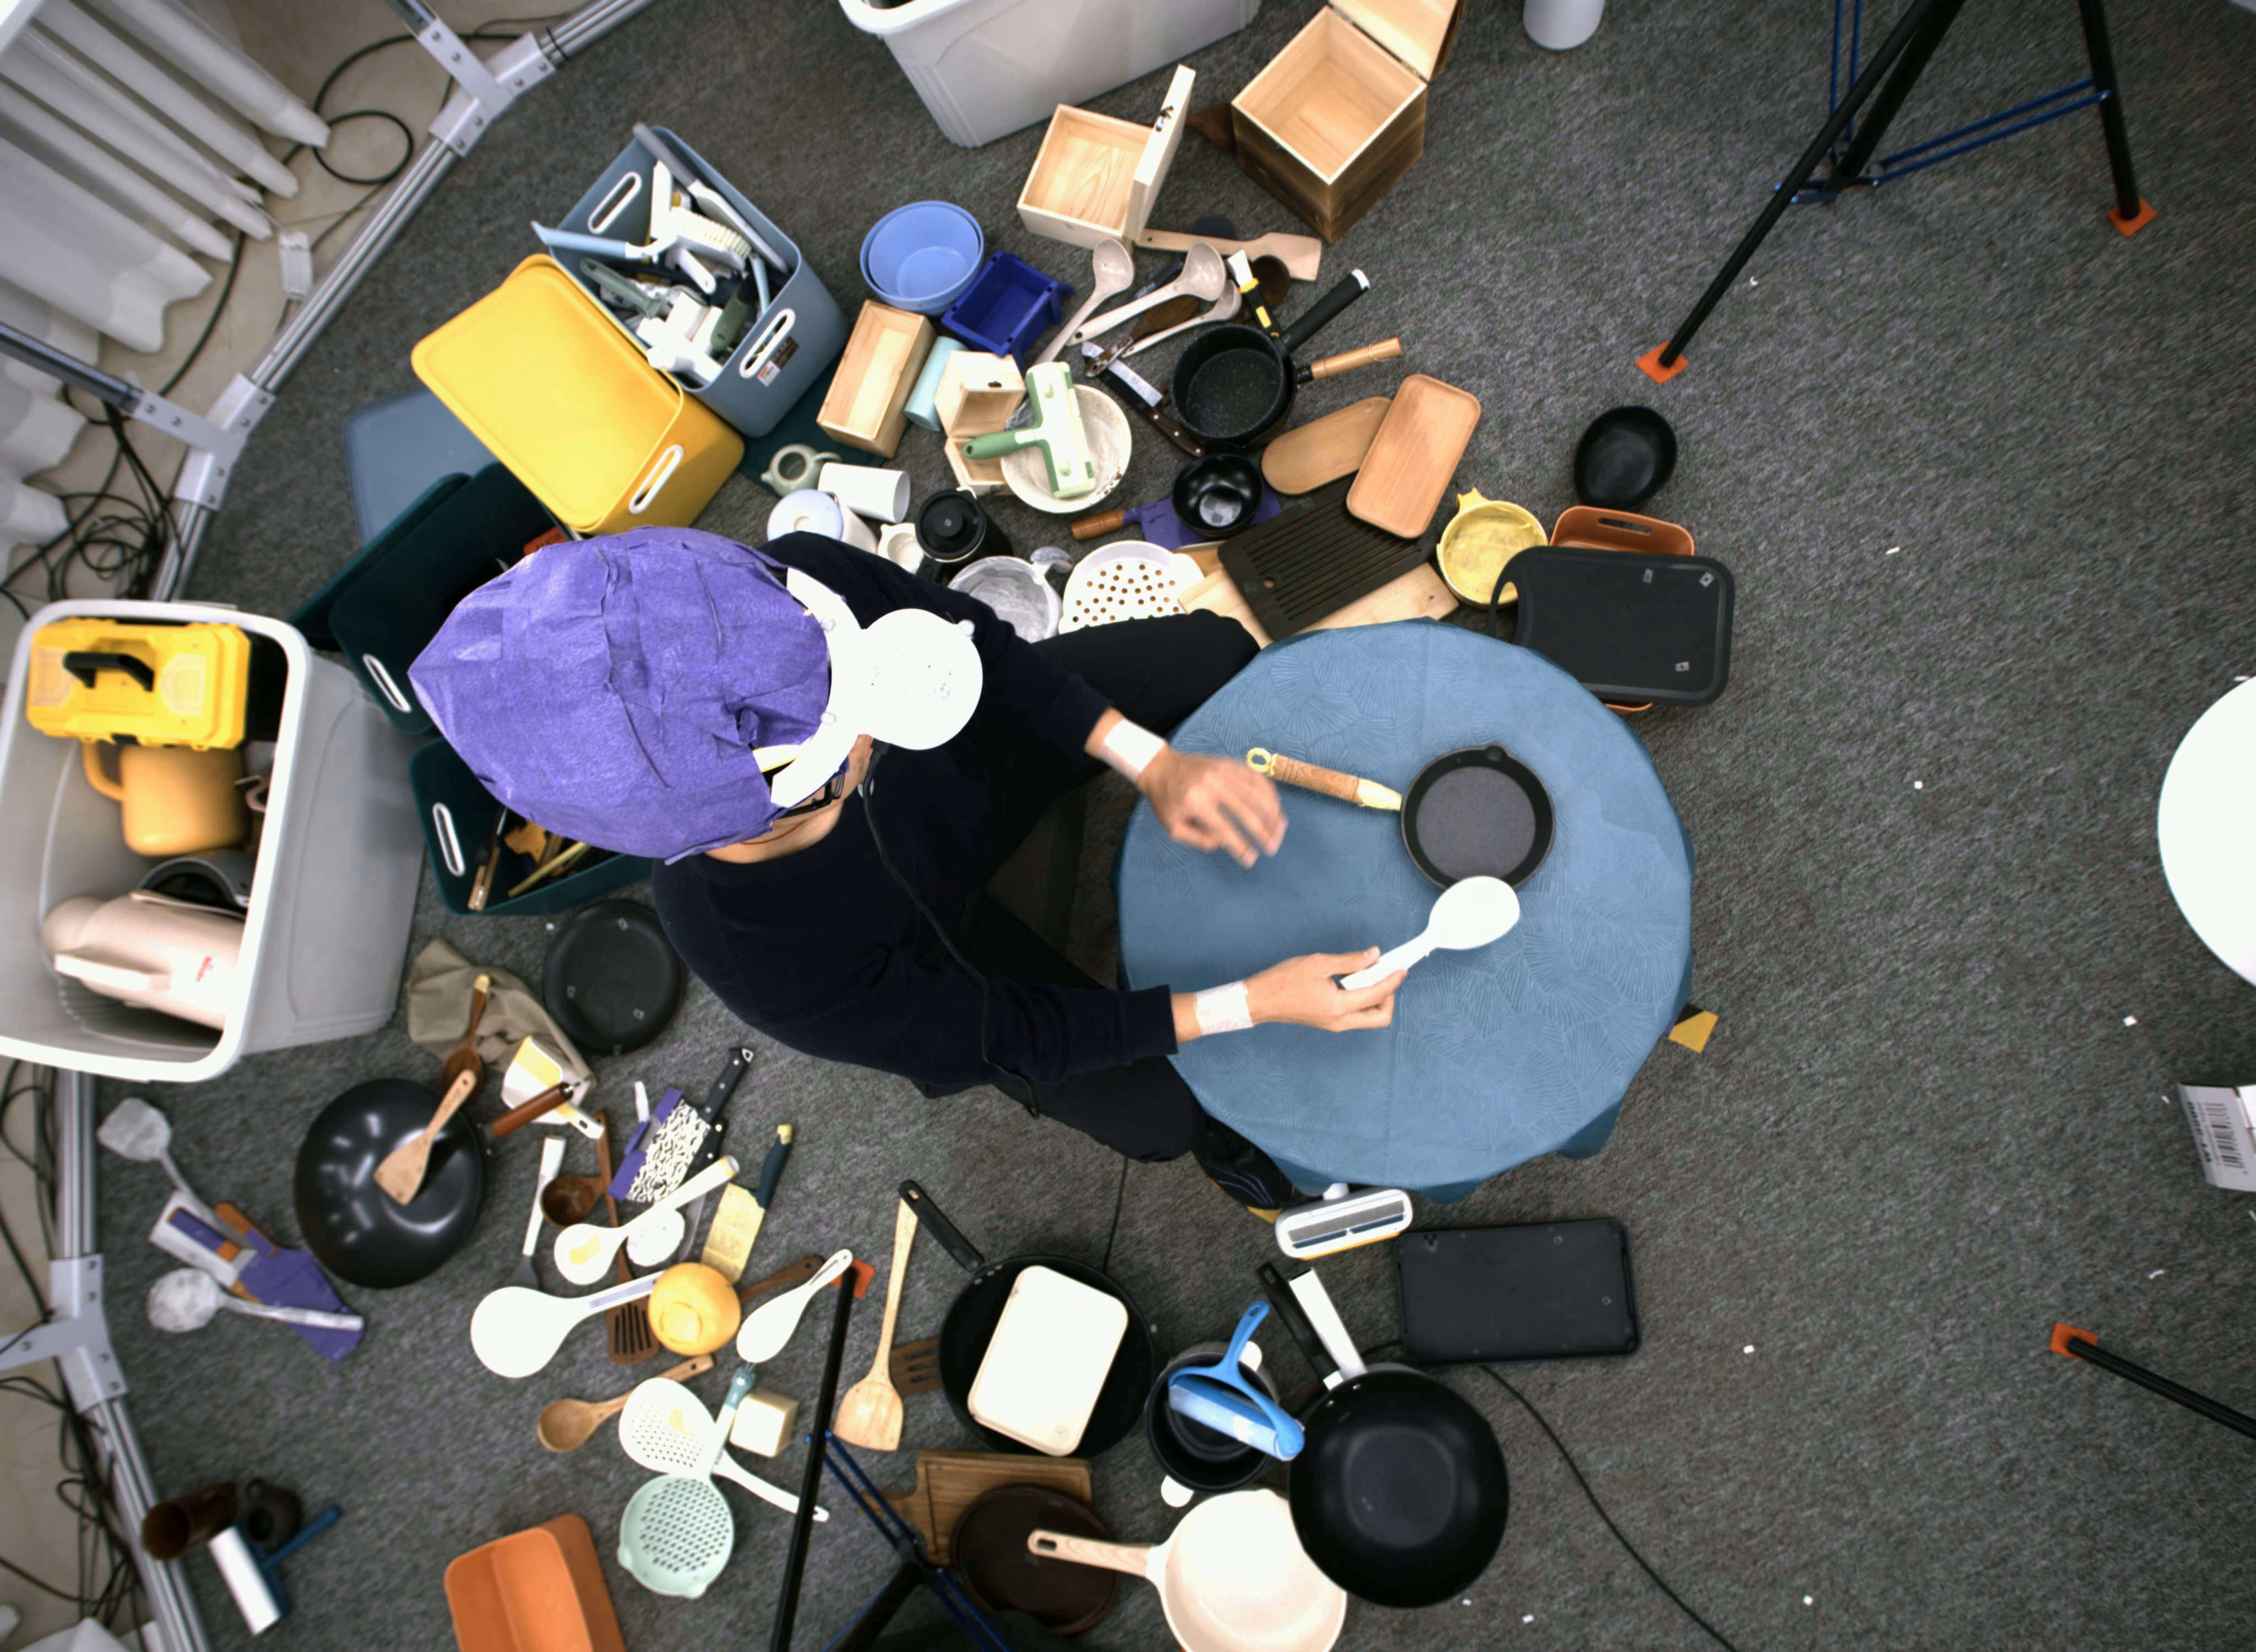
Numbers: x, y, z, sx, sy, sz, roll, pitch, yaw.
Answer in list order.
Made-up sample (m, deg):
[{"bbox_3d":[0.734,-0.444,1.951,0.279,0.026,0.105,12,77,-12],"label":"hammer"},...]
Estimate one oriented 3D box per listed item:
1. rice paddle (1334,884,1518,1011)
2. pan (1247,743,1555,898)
[{"bbox_3d":[0.299,0.119,1.376,0.205,0.030,0.068,-29,65,-5],"label":"rice paddle"},{"bbox_3d":[0.281,-0.030,1.438,0.324,0.049,0.169,17,90,9],"label":"pan"}]
